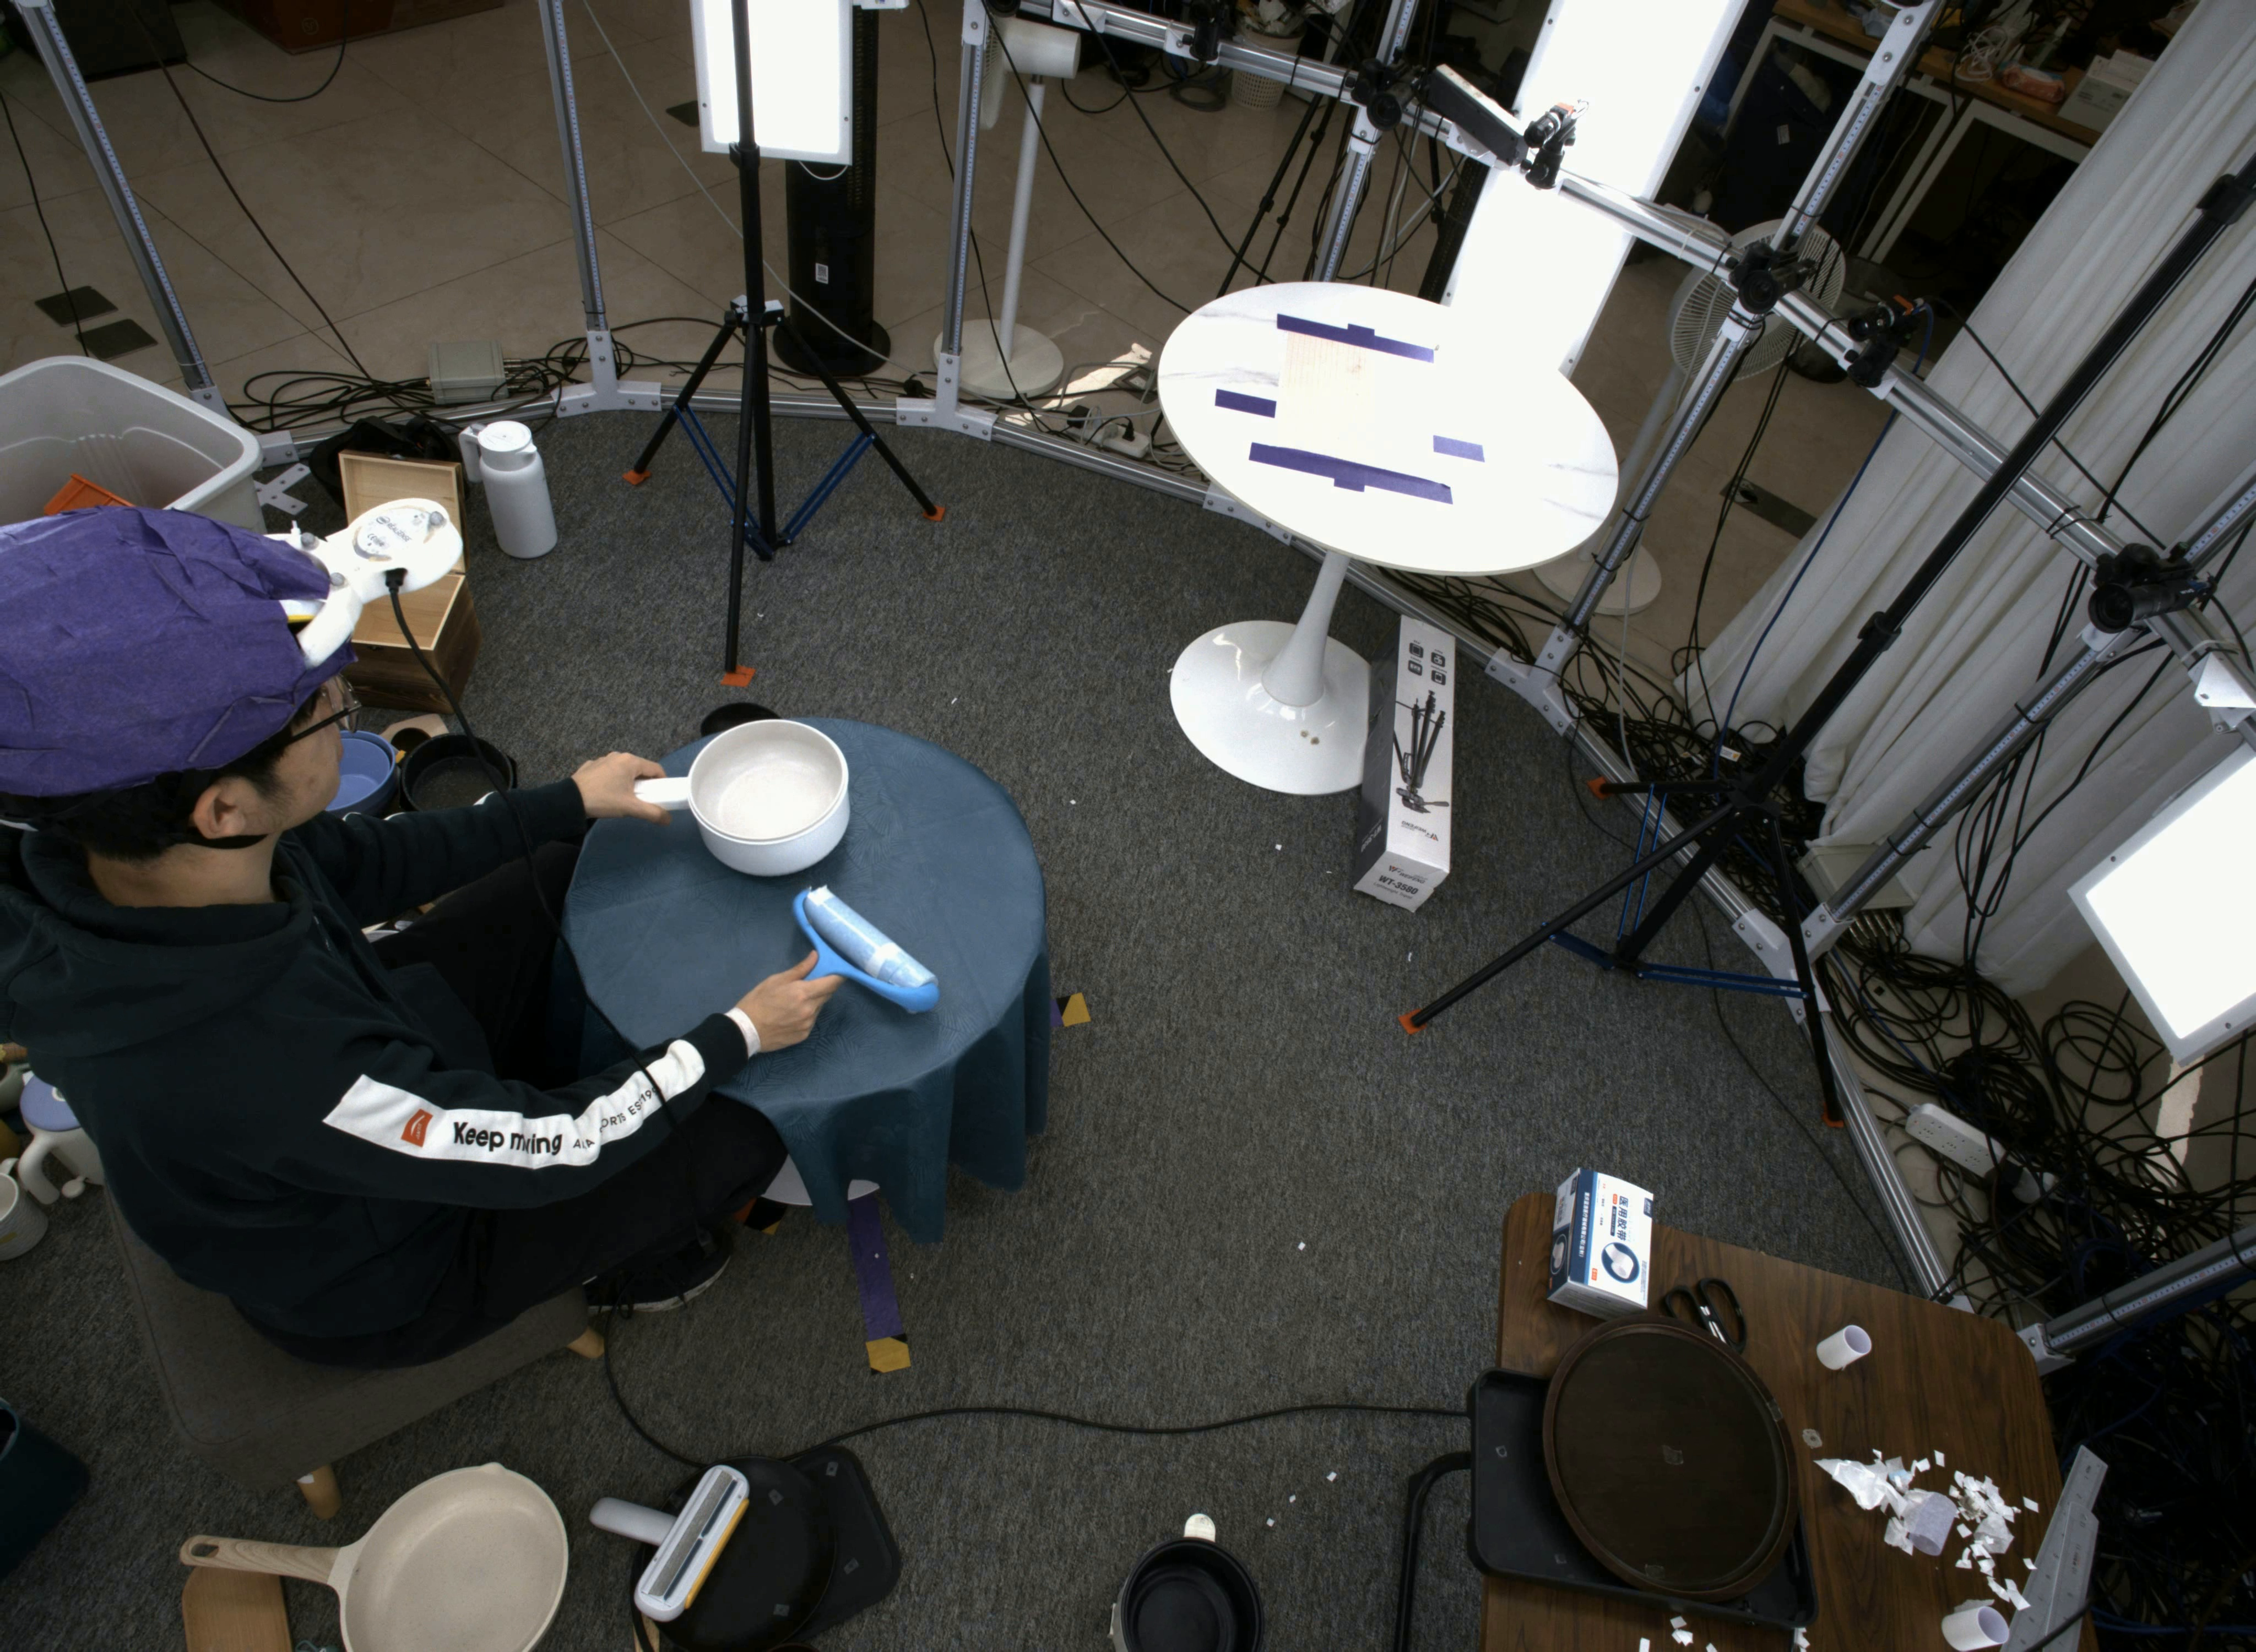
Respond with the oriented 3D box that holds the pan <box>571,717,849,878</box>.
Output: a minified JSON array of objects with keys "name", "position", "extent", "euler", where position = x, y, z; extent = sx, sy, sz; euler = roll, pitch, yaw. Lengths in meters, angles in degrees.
[{"name":"pan","position":[-0.536,-0.027,1.658],"extent":[0.353,0.104,0.197],"euler":[-4,56,-9]}]

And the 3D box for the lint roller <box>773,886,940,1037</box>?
[{"name":"lint roller","position":[-0.355,0.178,1.561],"extent":[0.224,0.069,0.180],"euler":[34,51,14]}]
